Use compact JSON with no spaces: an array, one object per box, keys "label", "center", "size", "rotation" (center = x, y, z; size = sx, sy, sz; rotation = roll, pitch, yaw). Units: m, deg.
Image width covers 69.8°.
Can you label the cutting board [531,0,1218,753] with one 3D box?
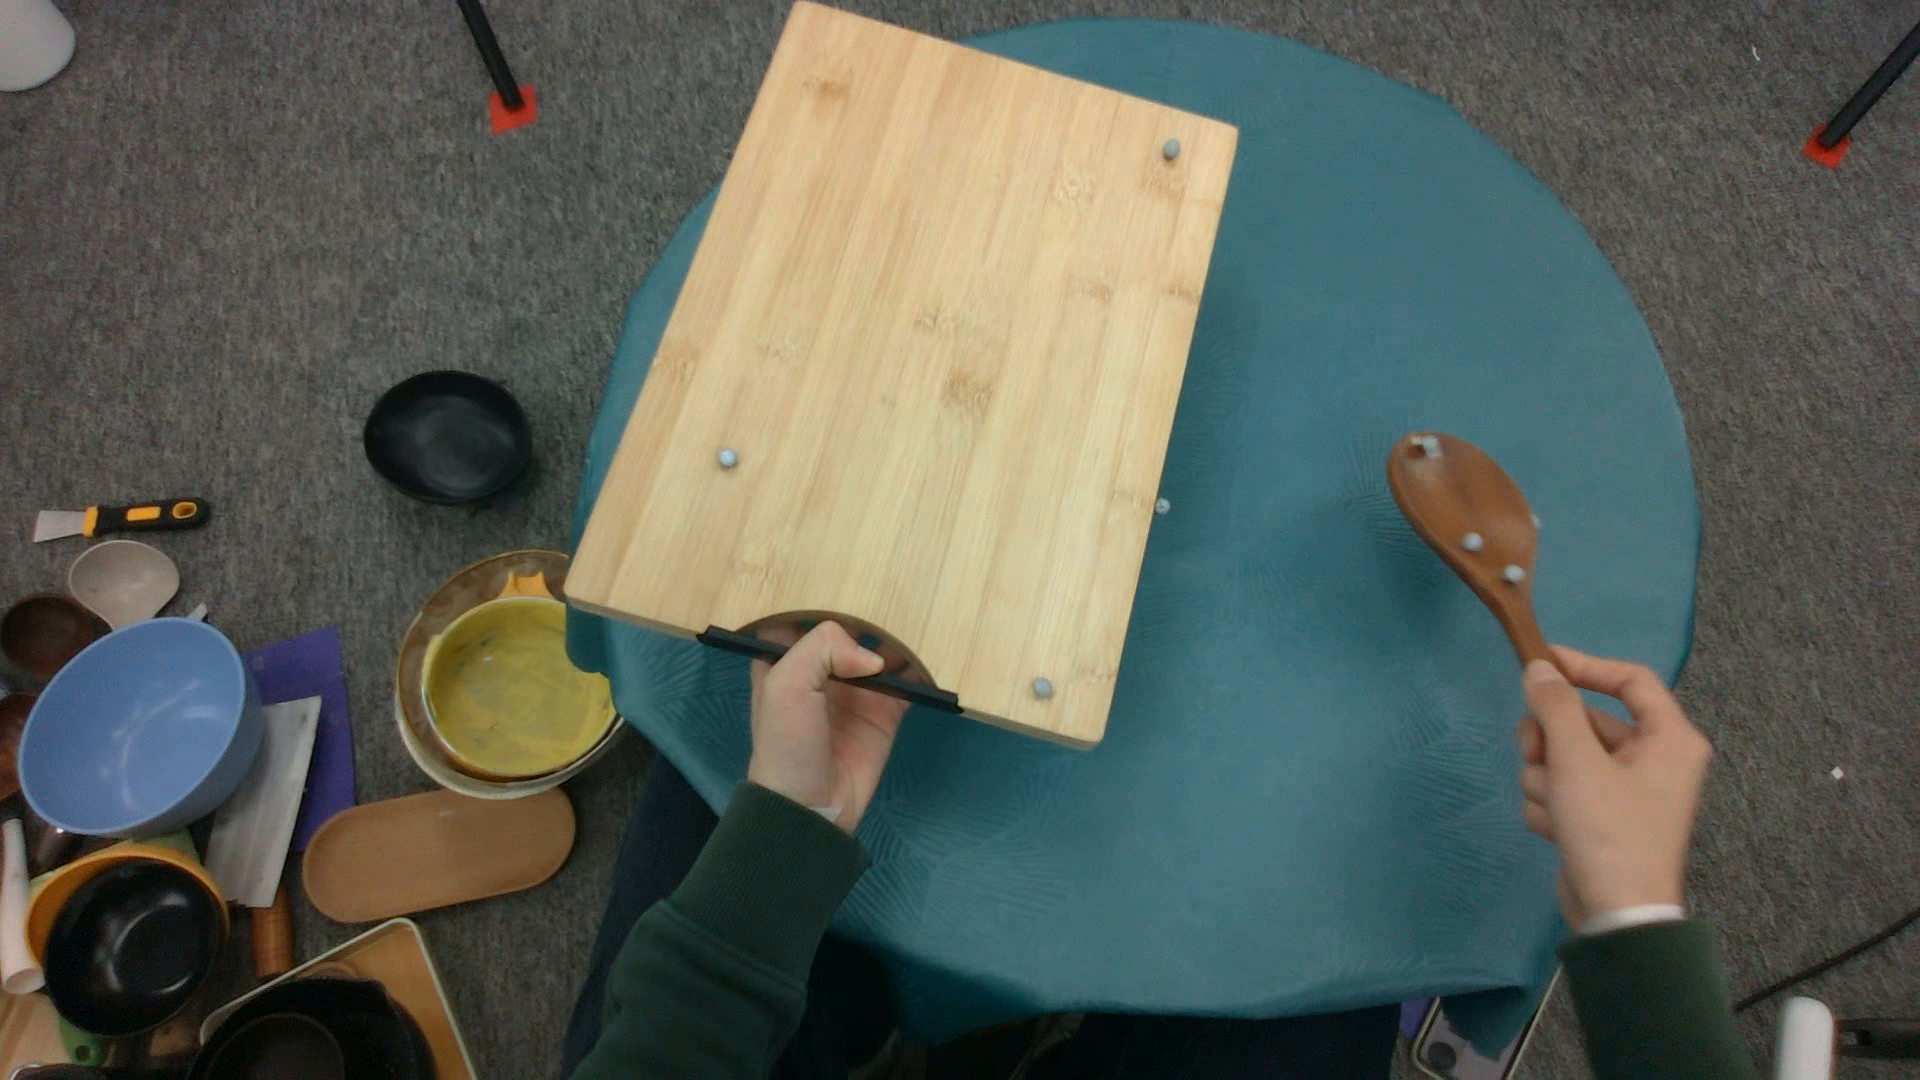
[{"label":"cutting board","center":[-0.024,-0.095,0.655],"size":[0.251,0.023,0.350],"rotation":[15,68,-2]}]

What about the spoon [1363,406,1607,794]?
[{"label":"spoon","center":[0.239,0.020,0.633],"size":[0.075,0.017,0.216],"rotation":[8,48,-25]}]
